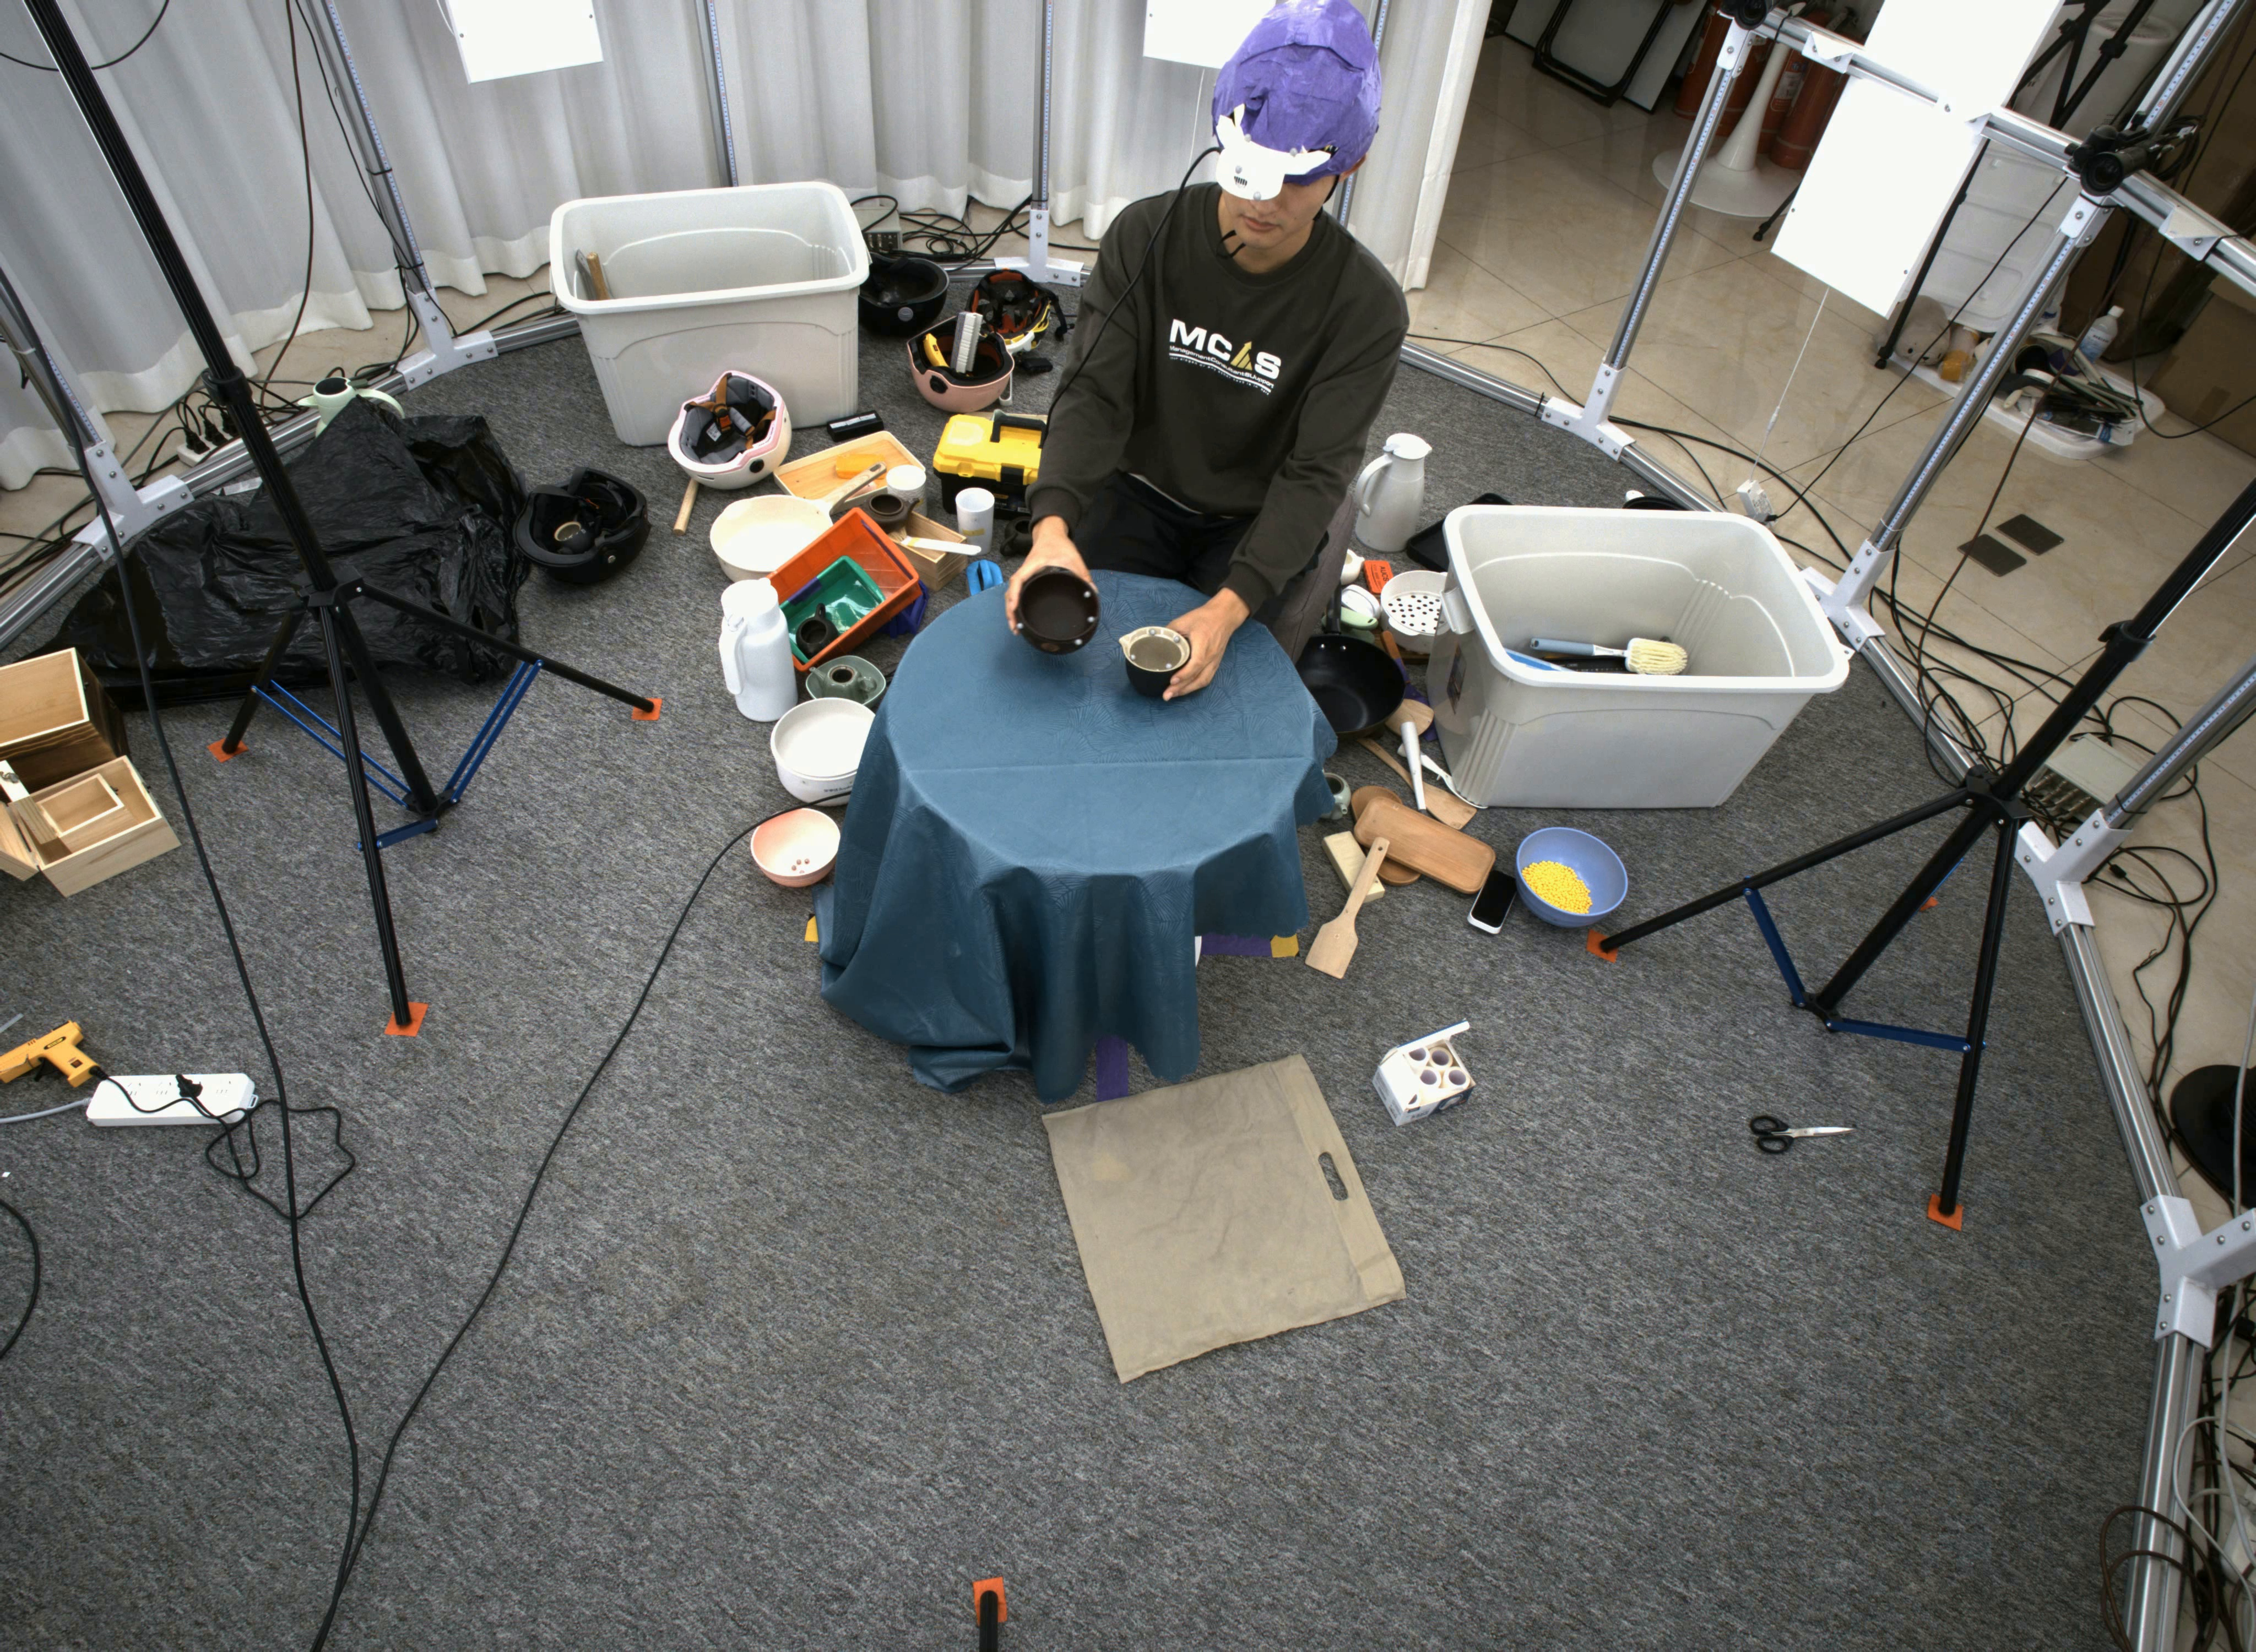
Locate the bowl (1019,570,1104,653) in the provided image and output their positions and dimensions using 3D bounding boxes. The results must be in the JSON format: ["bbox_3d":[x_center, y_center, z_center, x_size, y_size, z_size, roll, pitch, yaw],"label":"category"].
[{"bbox_3d":[-0.095,-0.295,1.816,0.118,0.068,0.120,3,62,-6],"label":"bowl"}]

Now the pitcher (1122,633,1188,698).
[{"bbox_3d":[0.036,-0.226,1.817,0.096,0.069,0.085,21,53,16],"label":"pitcher"}]
